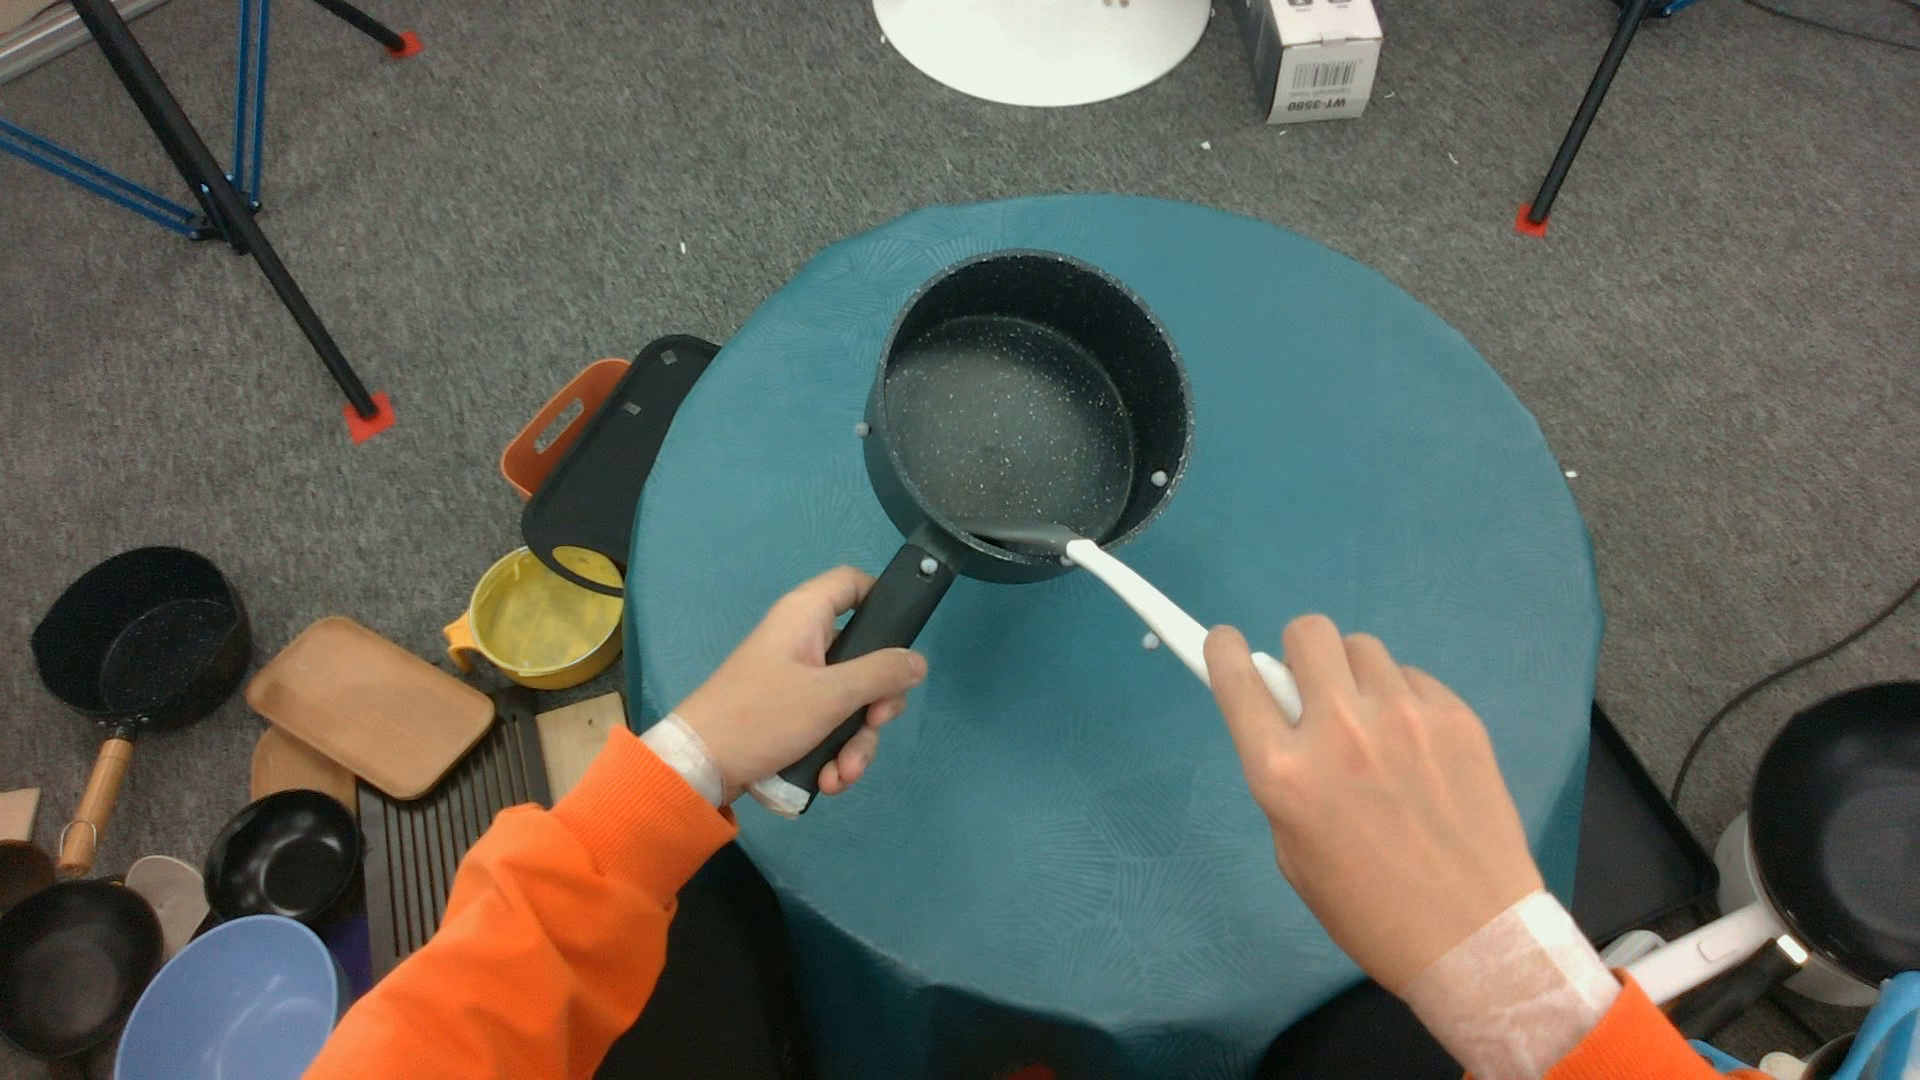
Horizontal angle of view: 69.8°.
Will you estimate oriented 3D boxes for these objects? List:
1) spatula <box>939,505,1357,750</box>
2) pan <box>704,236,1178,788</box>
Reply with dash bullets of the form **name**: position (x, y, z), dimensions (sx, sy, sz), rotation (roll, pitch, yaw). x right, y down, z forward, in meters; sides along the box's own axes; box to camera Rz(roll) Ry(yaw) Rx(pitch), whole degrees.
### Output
- **spatula**: position (0.066, 0.020, 0.640), dimensions (0.059, 0.032, 0.287), rotation (-4, 21, -33)
- **pan**: position (-0.019, -0.009, 0.710), dimensions (0.172, 0.086, 0.330), rotation (37, 68, -2)
